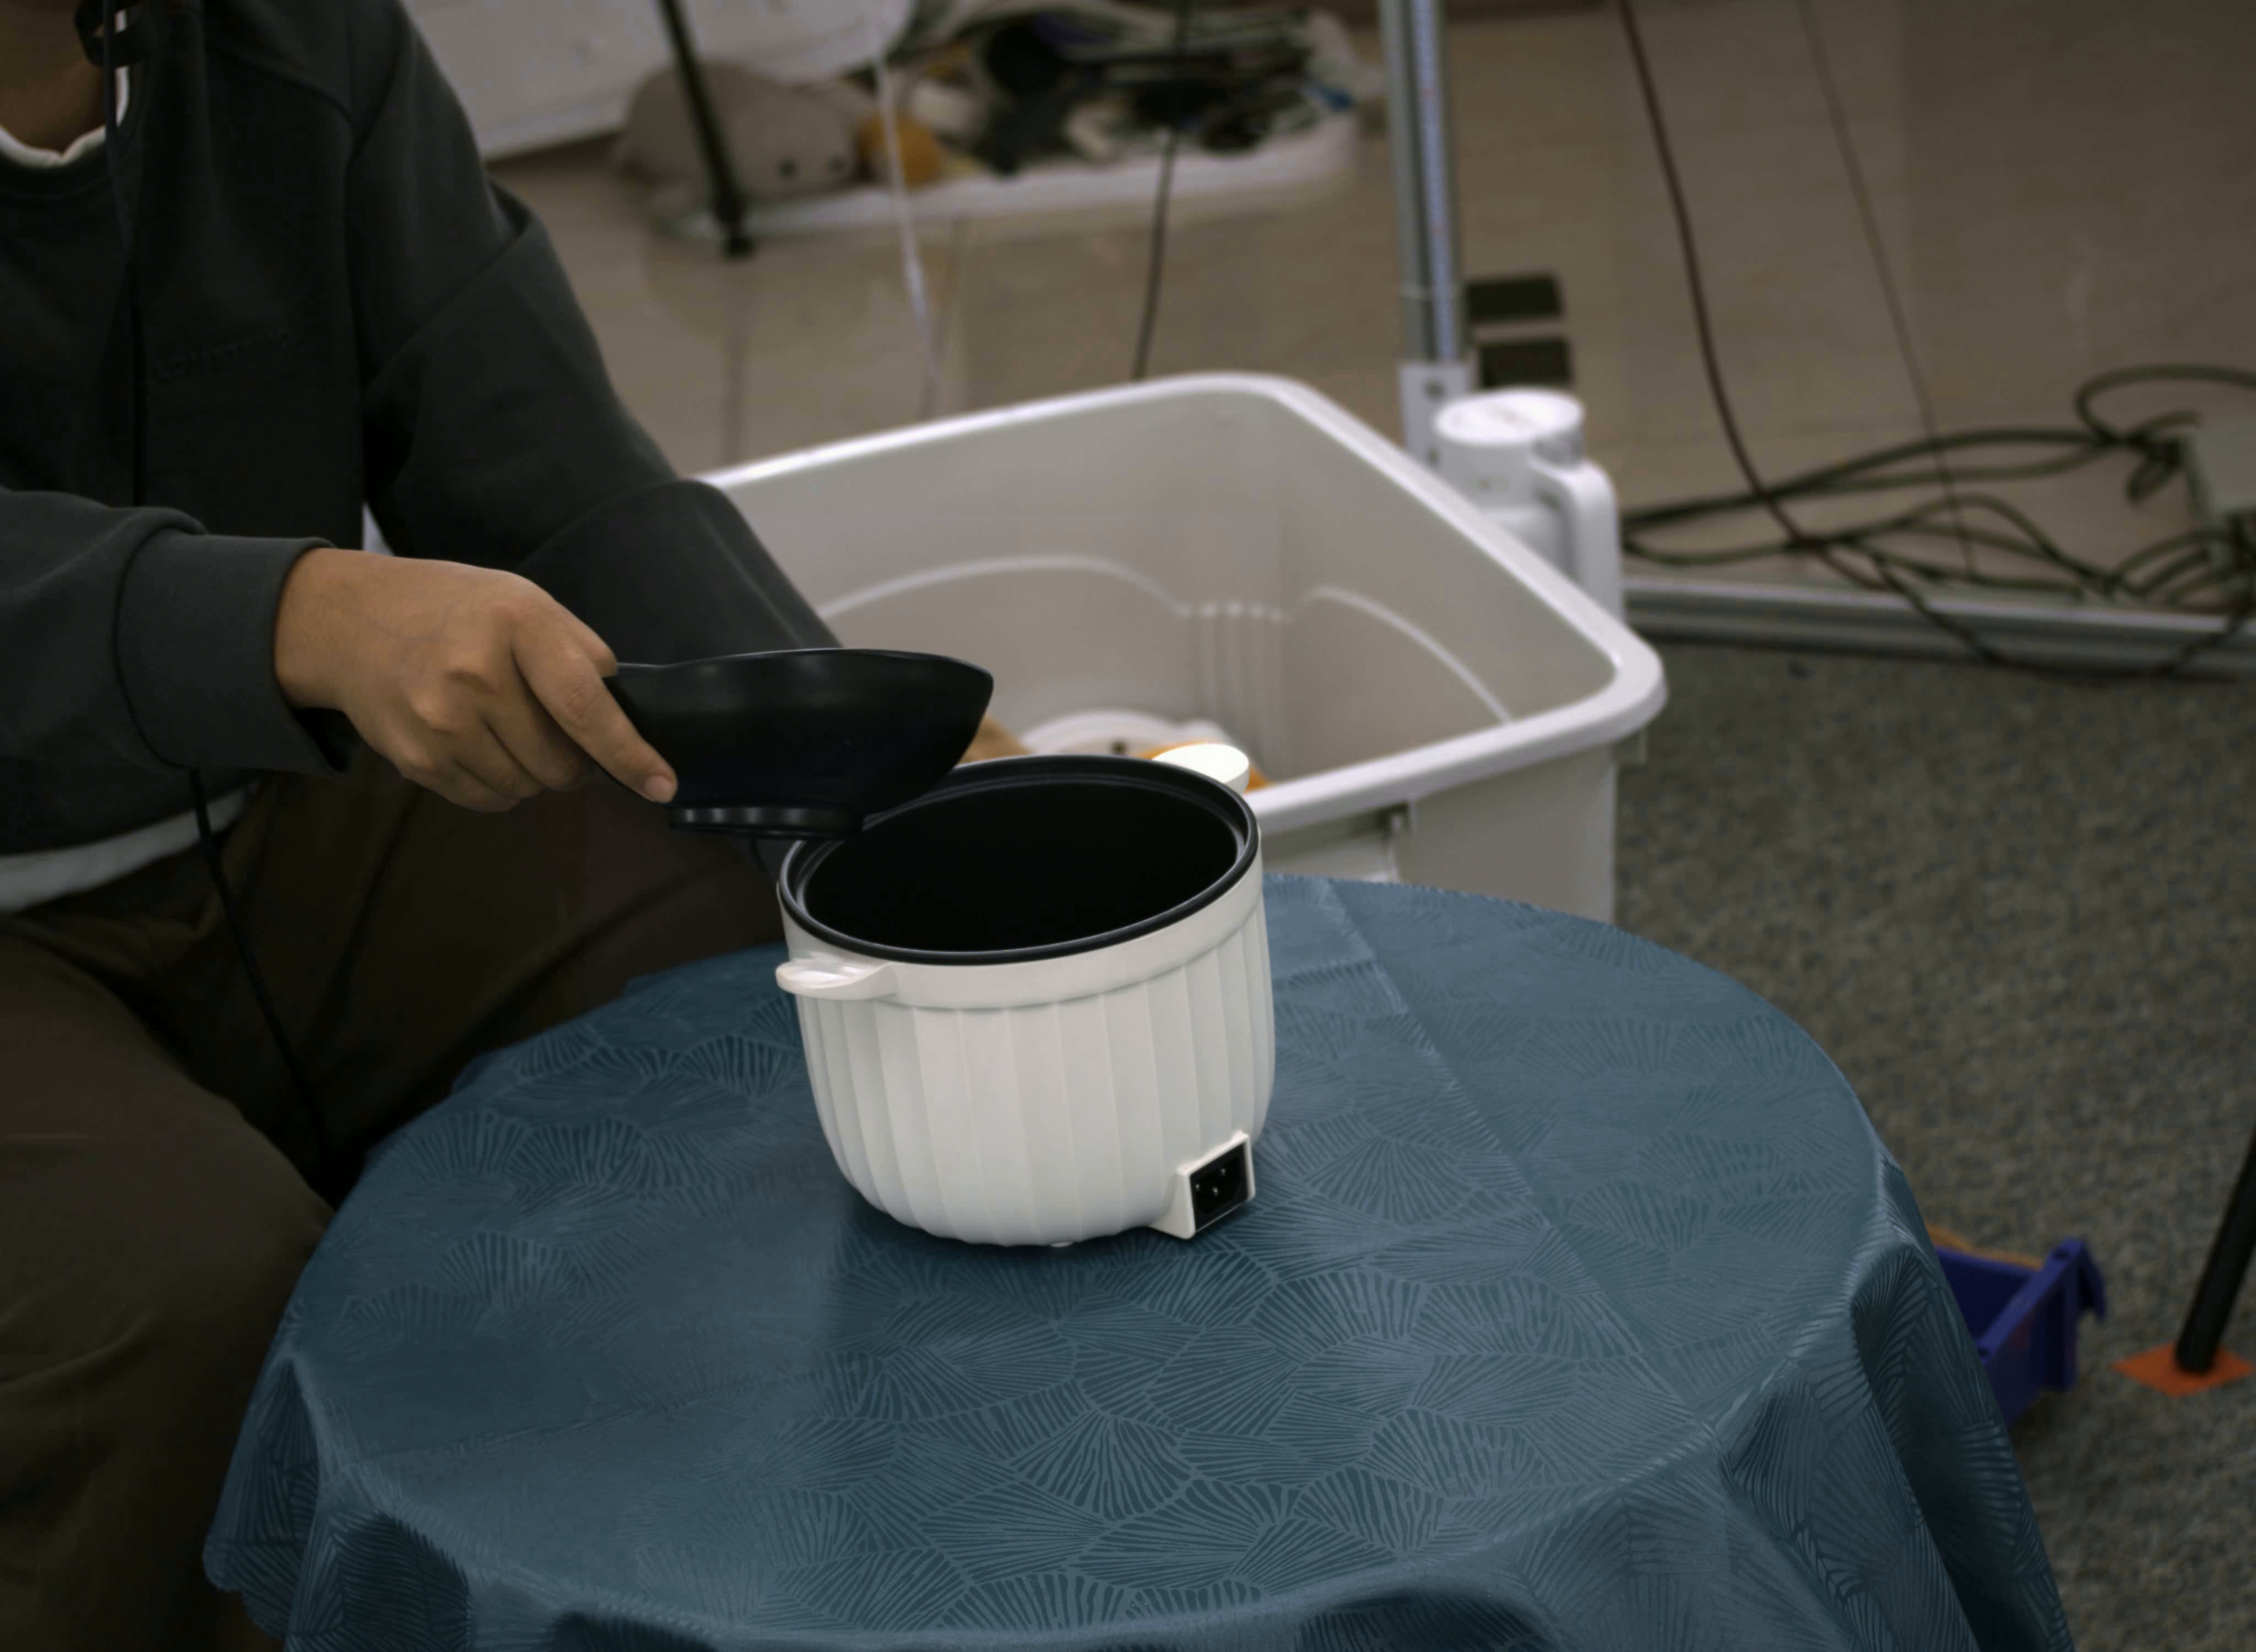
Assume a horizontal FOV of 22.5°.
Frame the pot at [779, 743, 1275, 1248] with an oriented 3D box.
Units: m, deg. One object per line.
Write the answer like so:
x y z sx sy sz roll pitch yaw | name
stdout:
-0.039 0.069 2.142 0.189 0.145 0.238 19 34 38 | pot

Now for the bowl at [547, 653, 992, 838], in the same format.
-0.128 -0.029 2.027 0.170 0.067 0.137 3 -3 -43 | bowl
